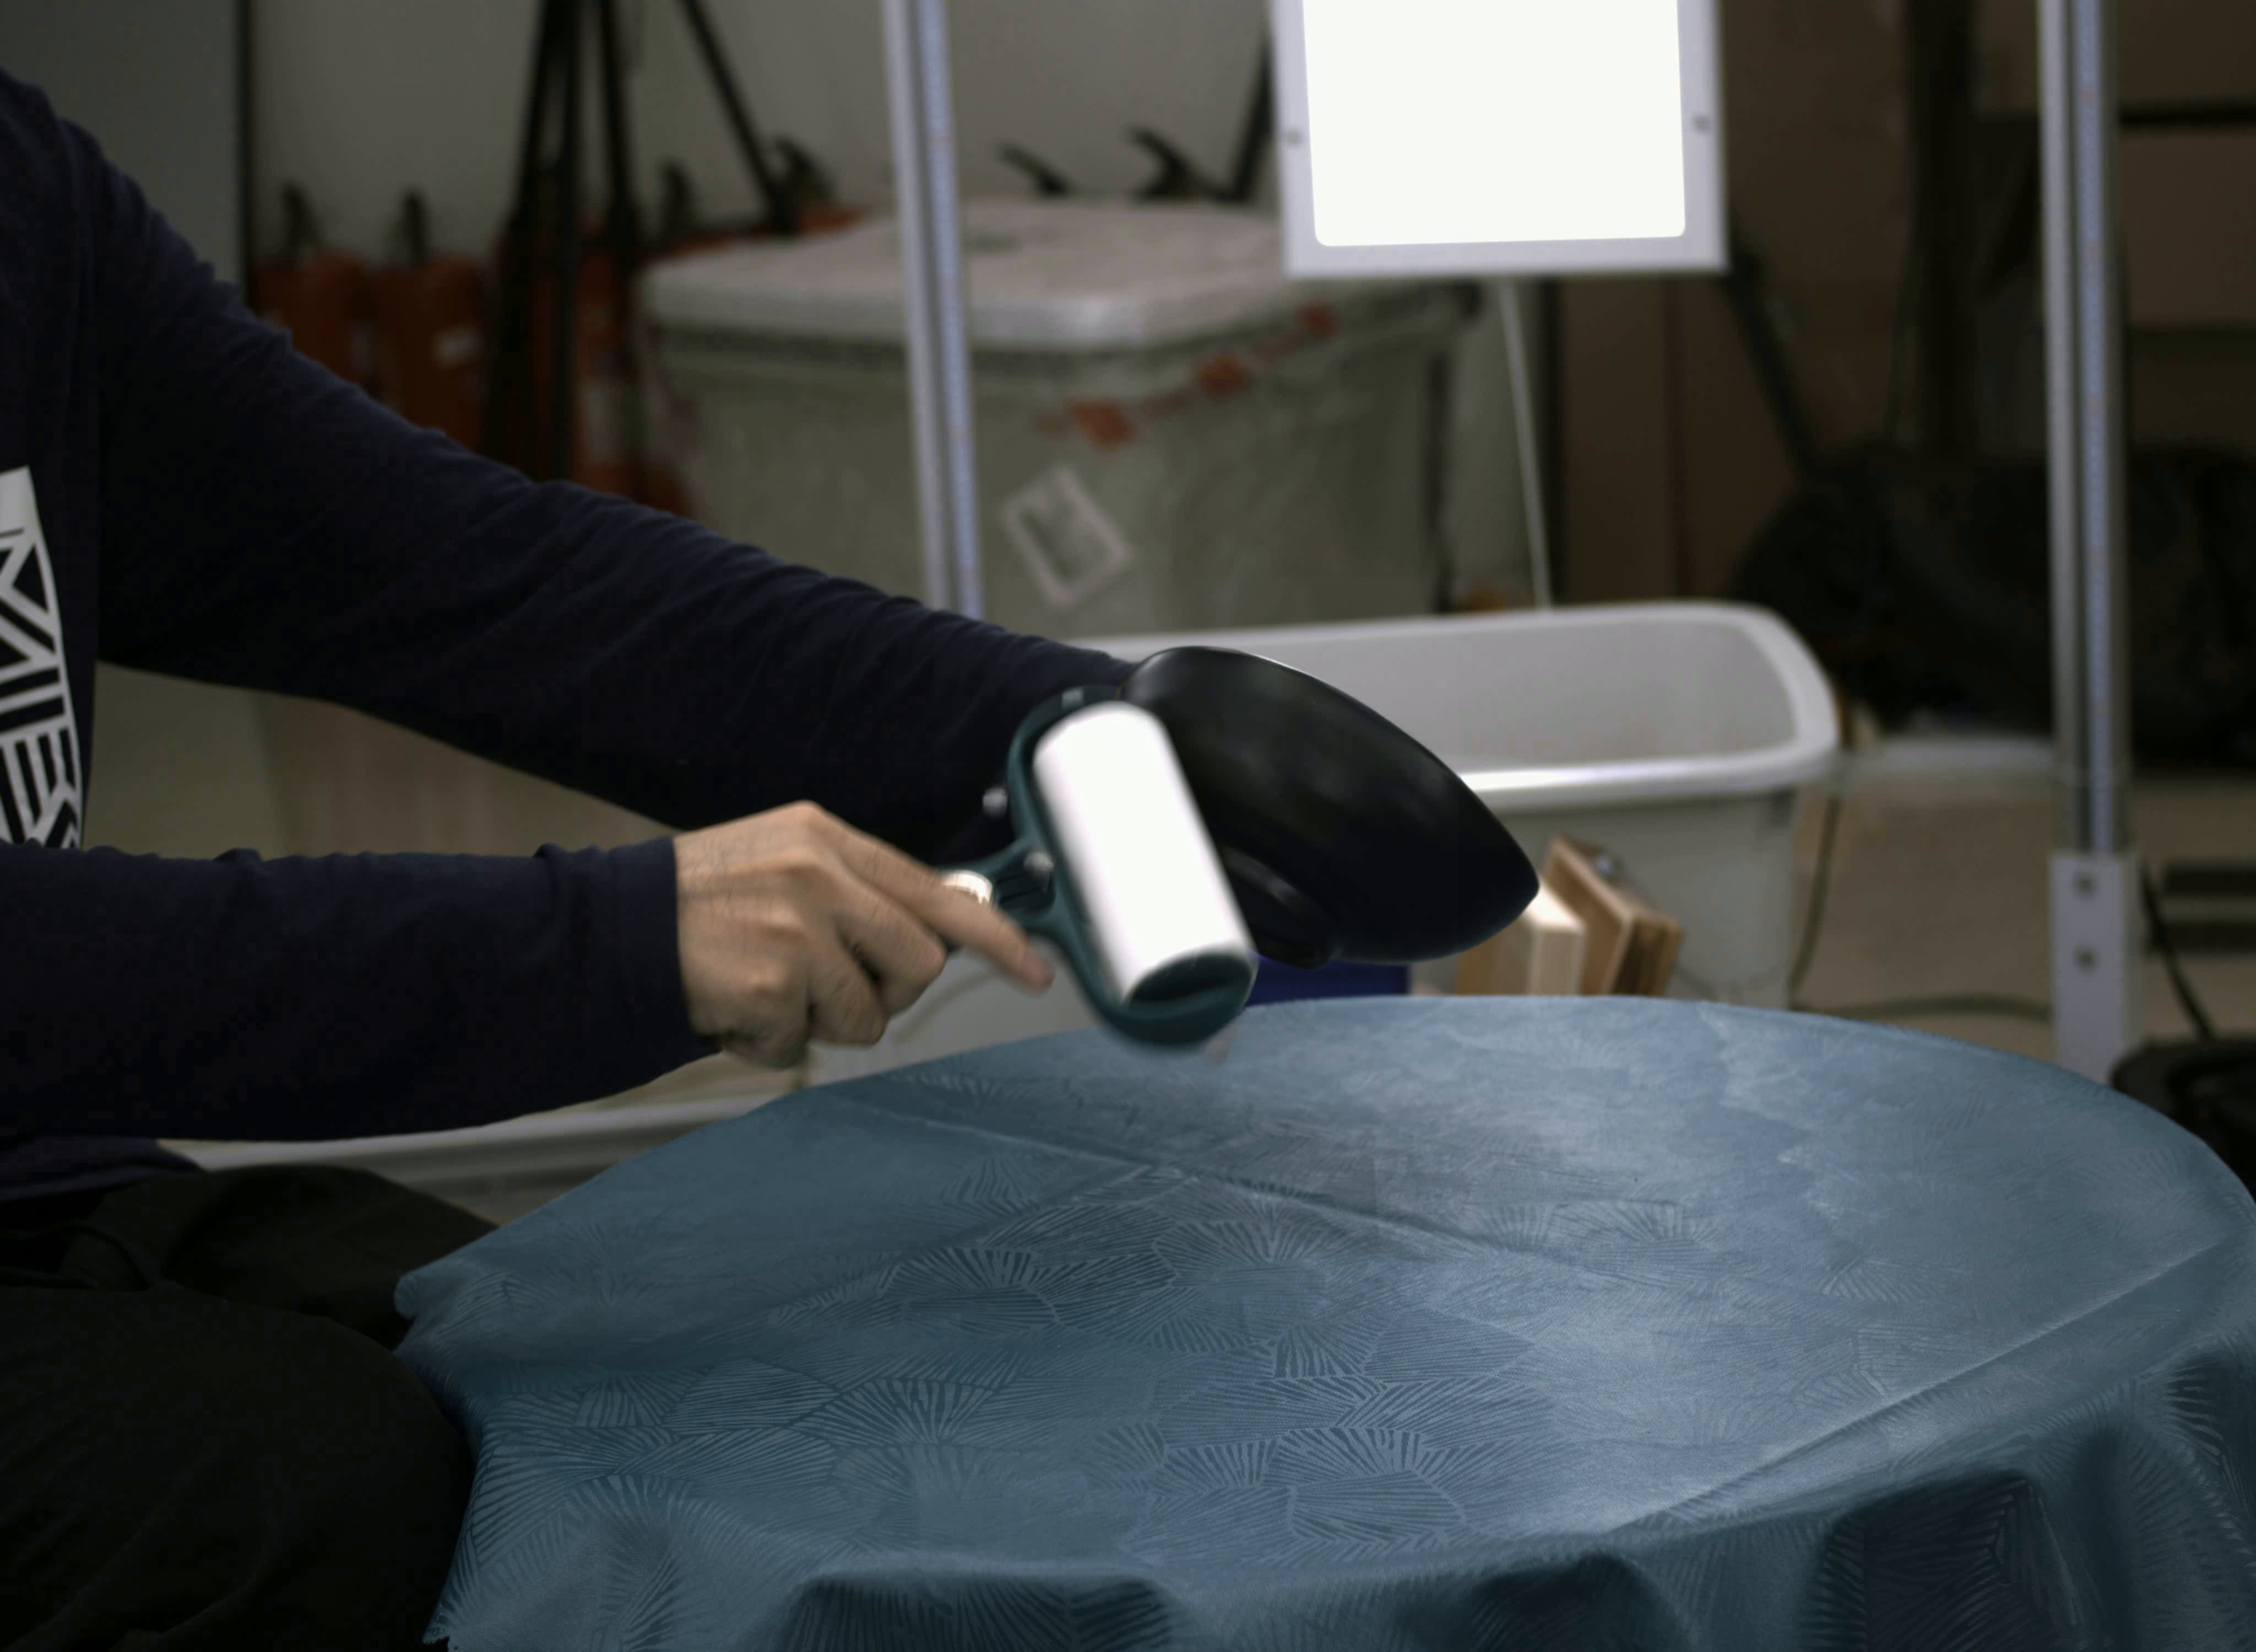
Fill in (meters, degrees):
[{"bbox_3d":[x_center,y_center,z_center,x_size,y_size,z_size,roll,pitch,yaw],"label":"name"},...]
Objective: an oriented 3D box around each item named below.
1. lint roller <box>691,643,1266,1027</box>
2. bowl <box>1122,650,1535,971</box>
[{"bbox_3d":[-0.056,0.019,1.796,0.177,0.049,0.135,-14,59,-14],"label":"lint roller"},{"bbox_3d":[0.054,0.004,1.869,0.173,0.136,0.066,21,69,36],"label":"bowl"}]
